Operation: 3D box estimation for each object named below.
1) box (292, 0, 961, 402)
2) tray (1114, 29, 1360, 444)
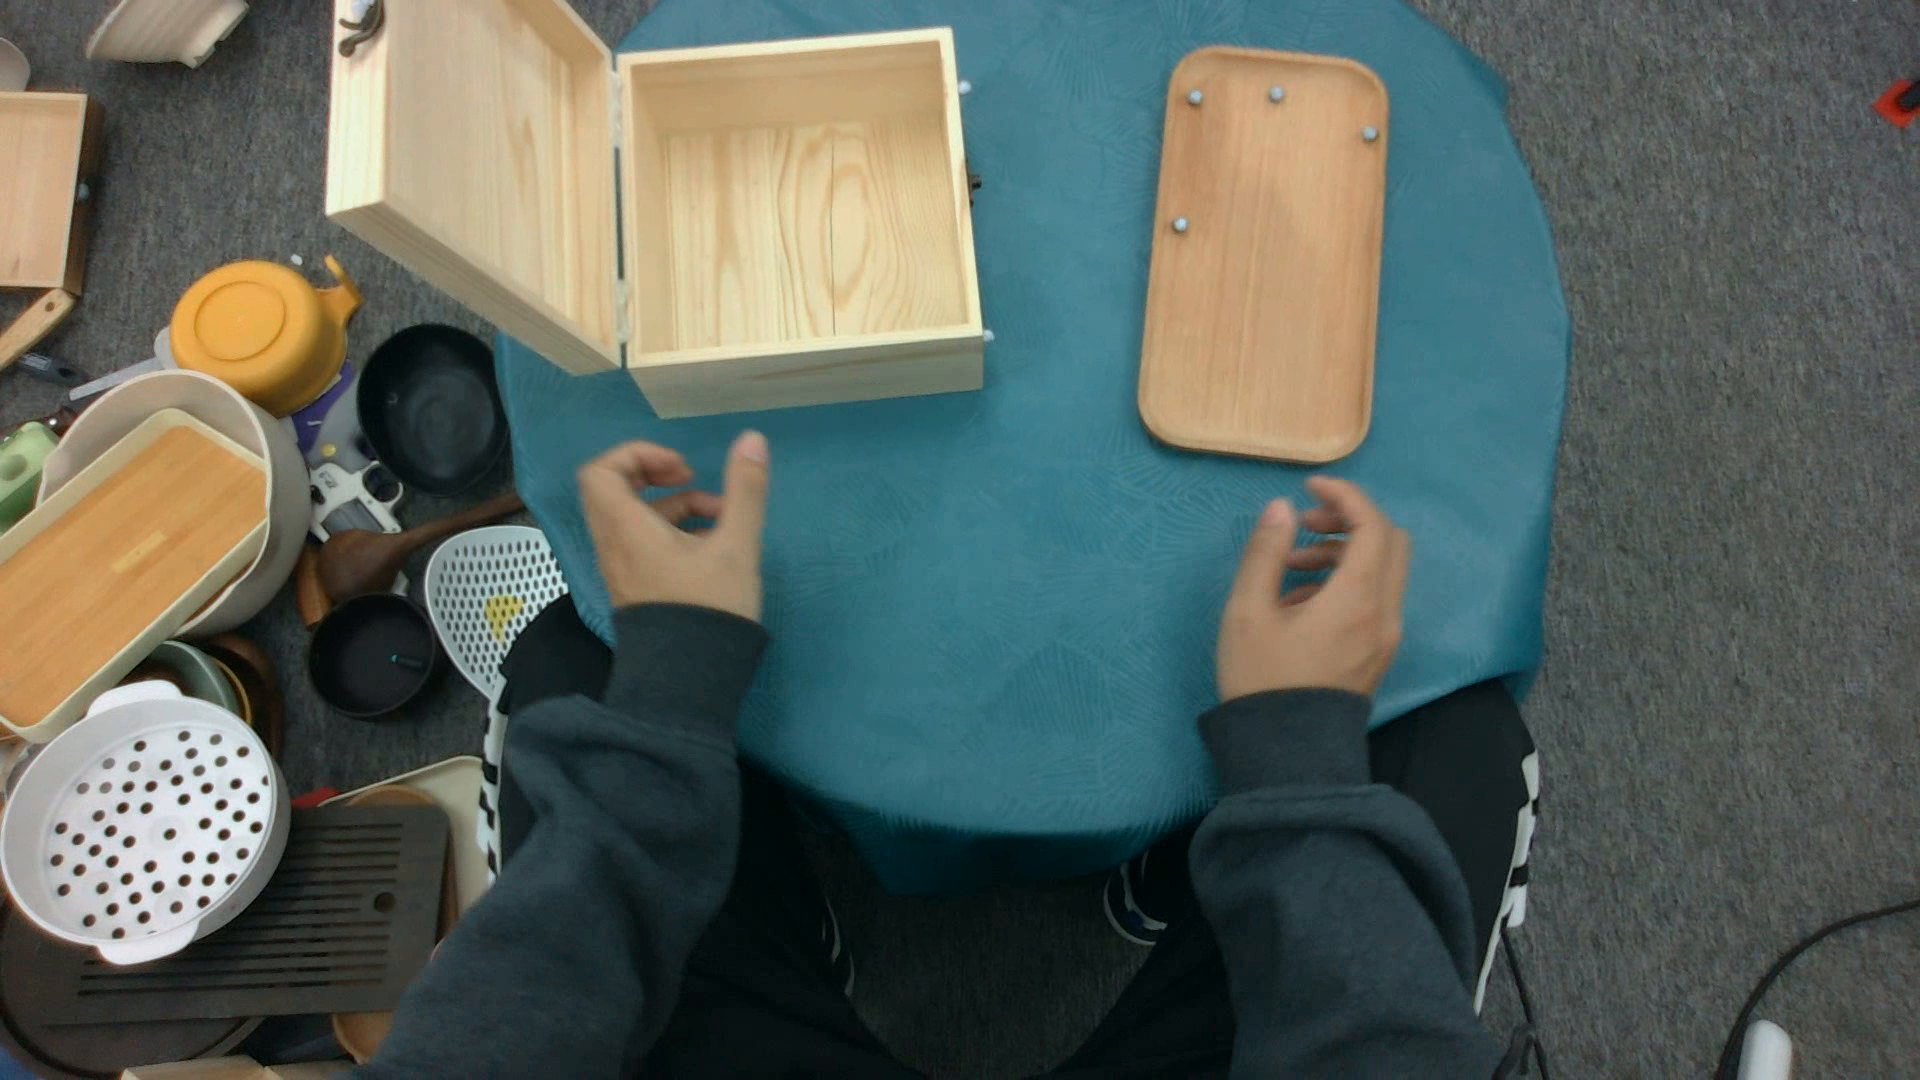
[{"bbox_3d":[-0.134,-0.196,0.667,0.265,0.252,0.182,-7,78,-1],"label":"box"},{"bbox_3d":[0.159,-0.175,0.780,0.130,0.023,0.251,6,75,4],"label":"tray"}]
